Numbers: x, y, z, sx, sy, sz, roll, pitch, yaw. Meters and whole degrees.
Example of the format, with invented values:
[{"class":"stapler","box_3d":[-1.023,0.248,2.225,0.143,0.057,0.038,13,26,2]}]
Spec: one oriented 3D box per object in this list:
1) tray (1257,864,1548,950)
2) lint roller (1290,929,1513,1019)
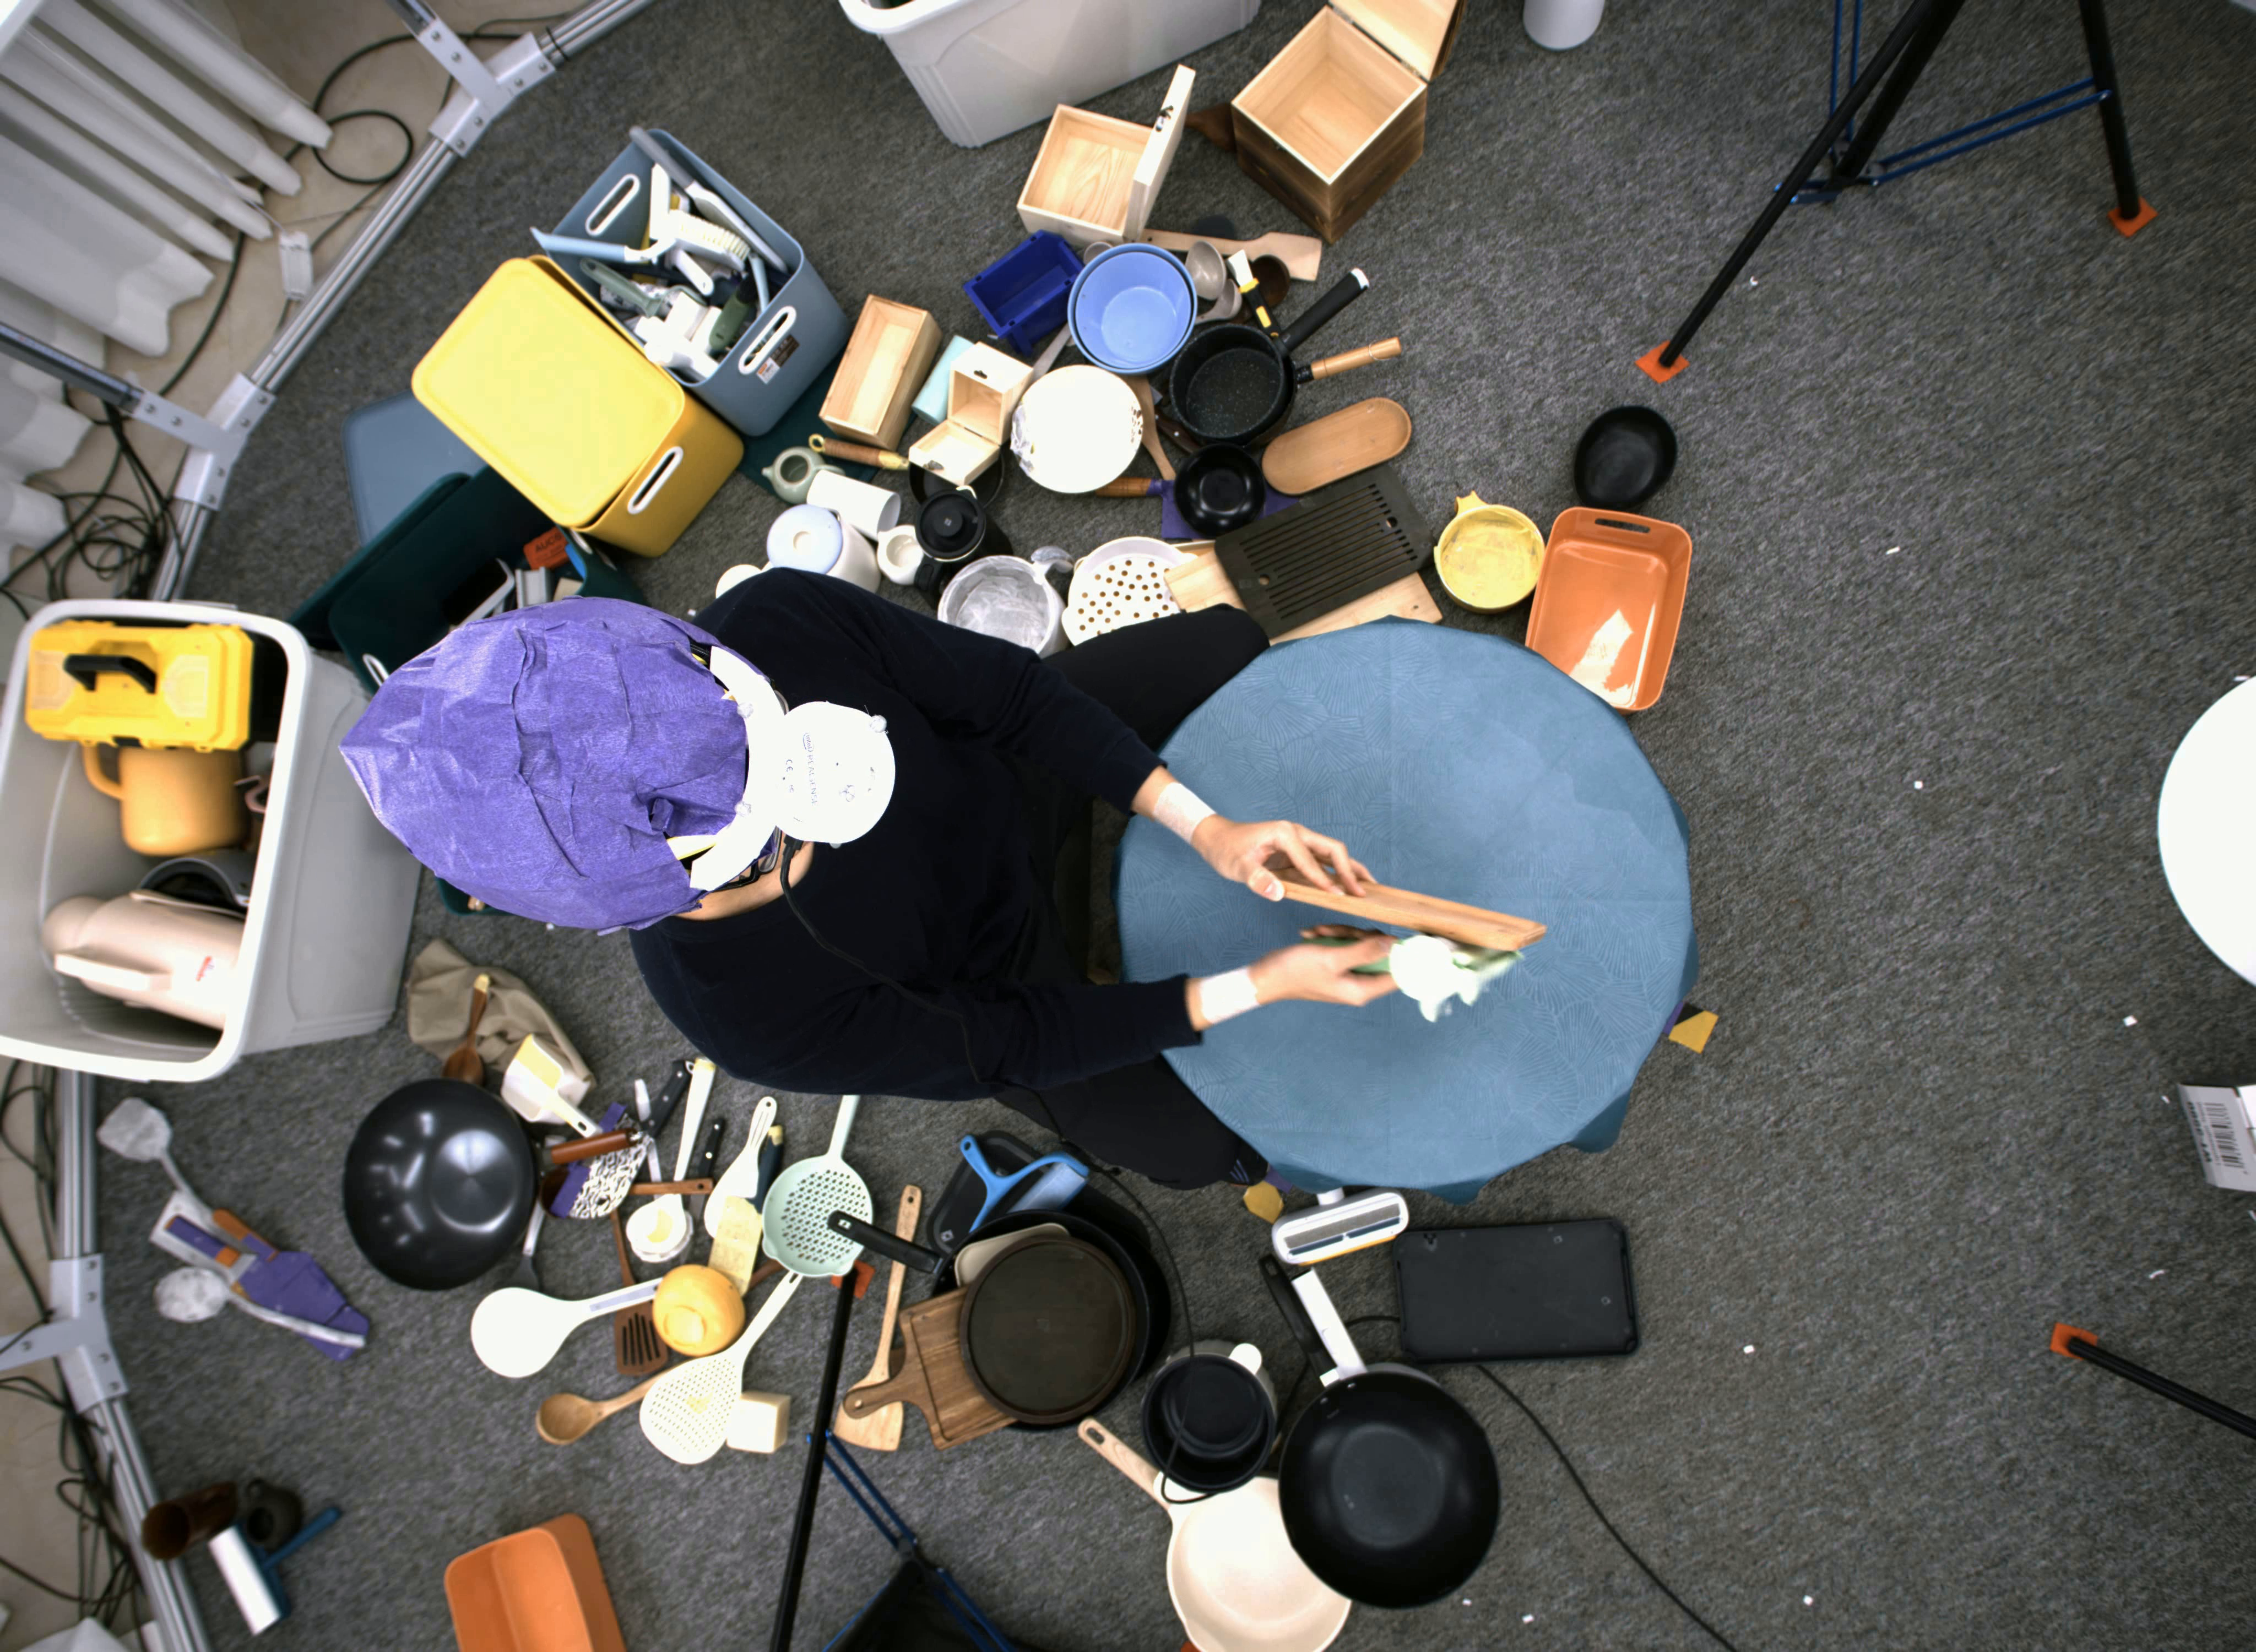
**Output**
[{"class":"tray","box_3d":[0.245,0.069,1.244,0.251,0.129,0.023,13,96,30]},{"class":"lint roller","box_3d":[0.236,0.130,1.249,0.185,0.197,0.082,-14,85,30]}]
